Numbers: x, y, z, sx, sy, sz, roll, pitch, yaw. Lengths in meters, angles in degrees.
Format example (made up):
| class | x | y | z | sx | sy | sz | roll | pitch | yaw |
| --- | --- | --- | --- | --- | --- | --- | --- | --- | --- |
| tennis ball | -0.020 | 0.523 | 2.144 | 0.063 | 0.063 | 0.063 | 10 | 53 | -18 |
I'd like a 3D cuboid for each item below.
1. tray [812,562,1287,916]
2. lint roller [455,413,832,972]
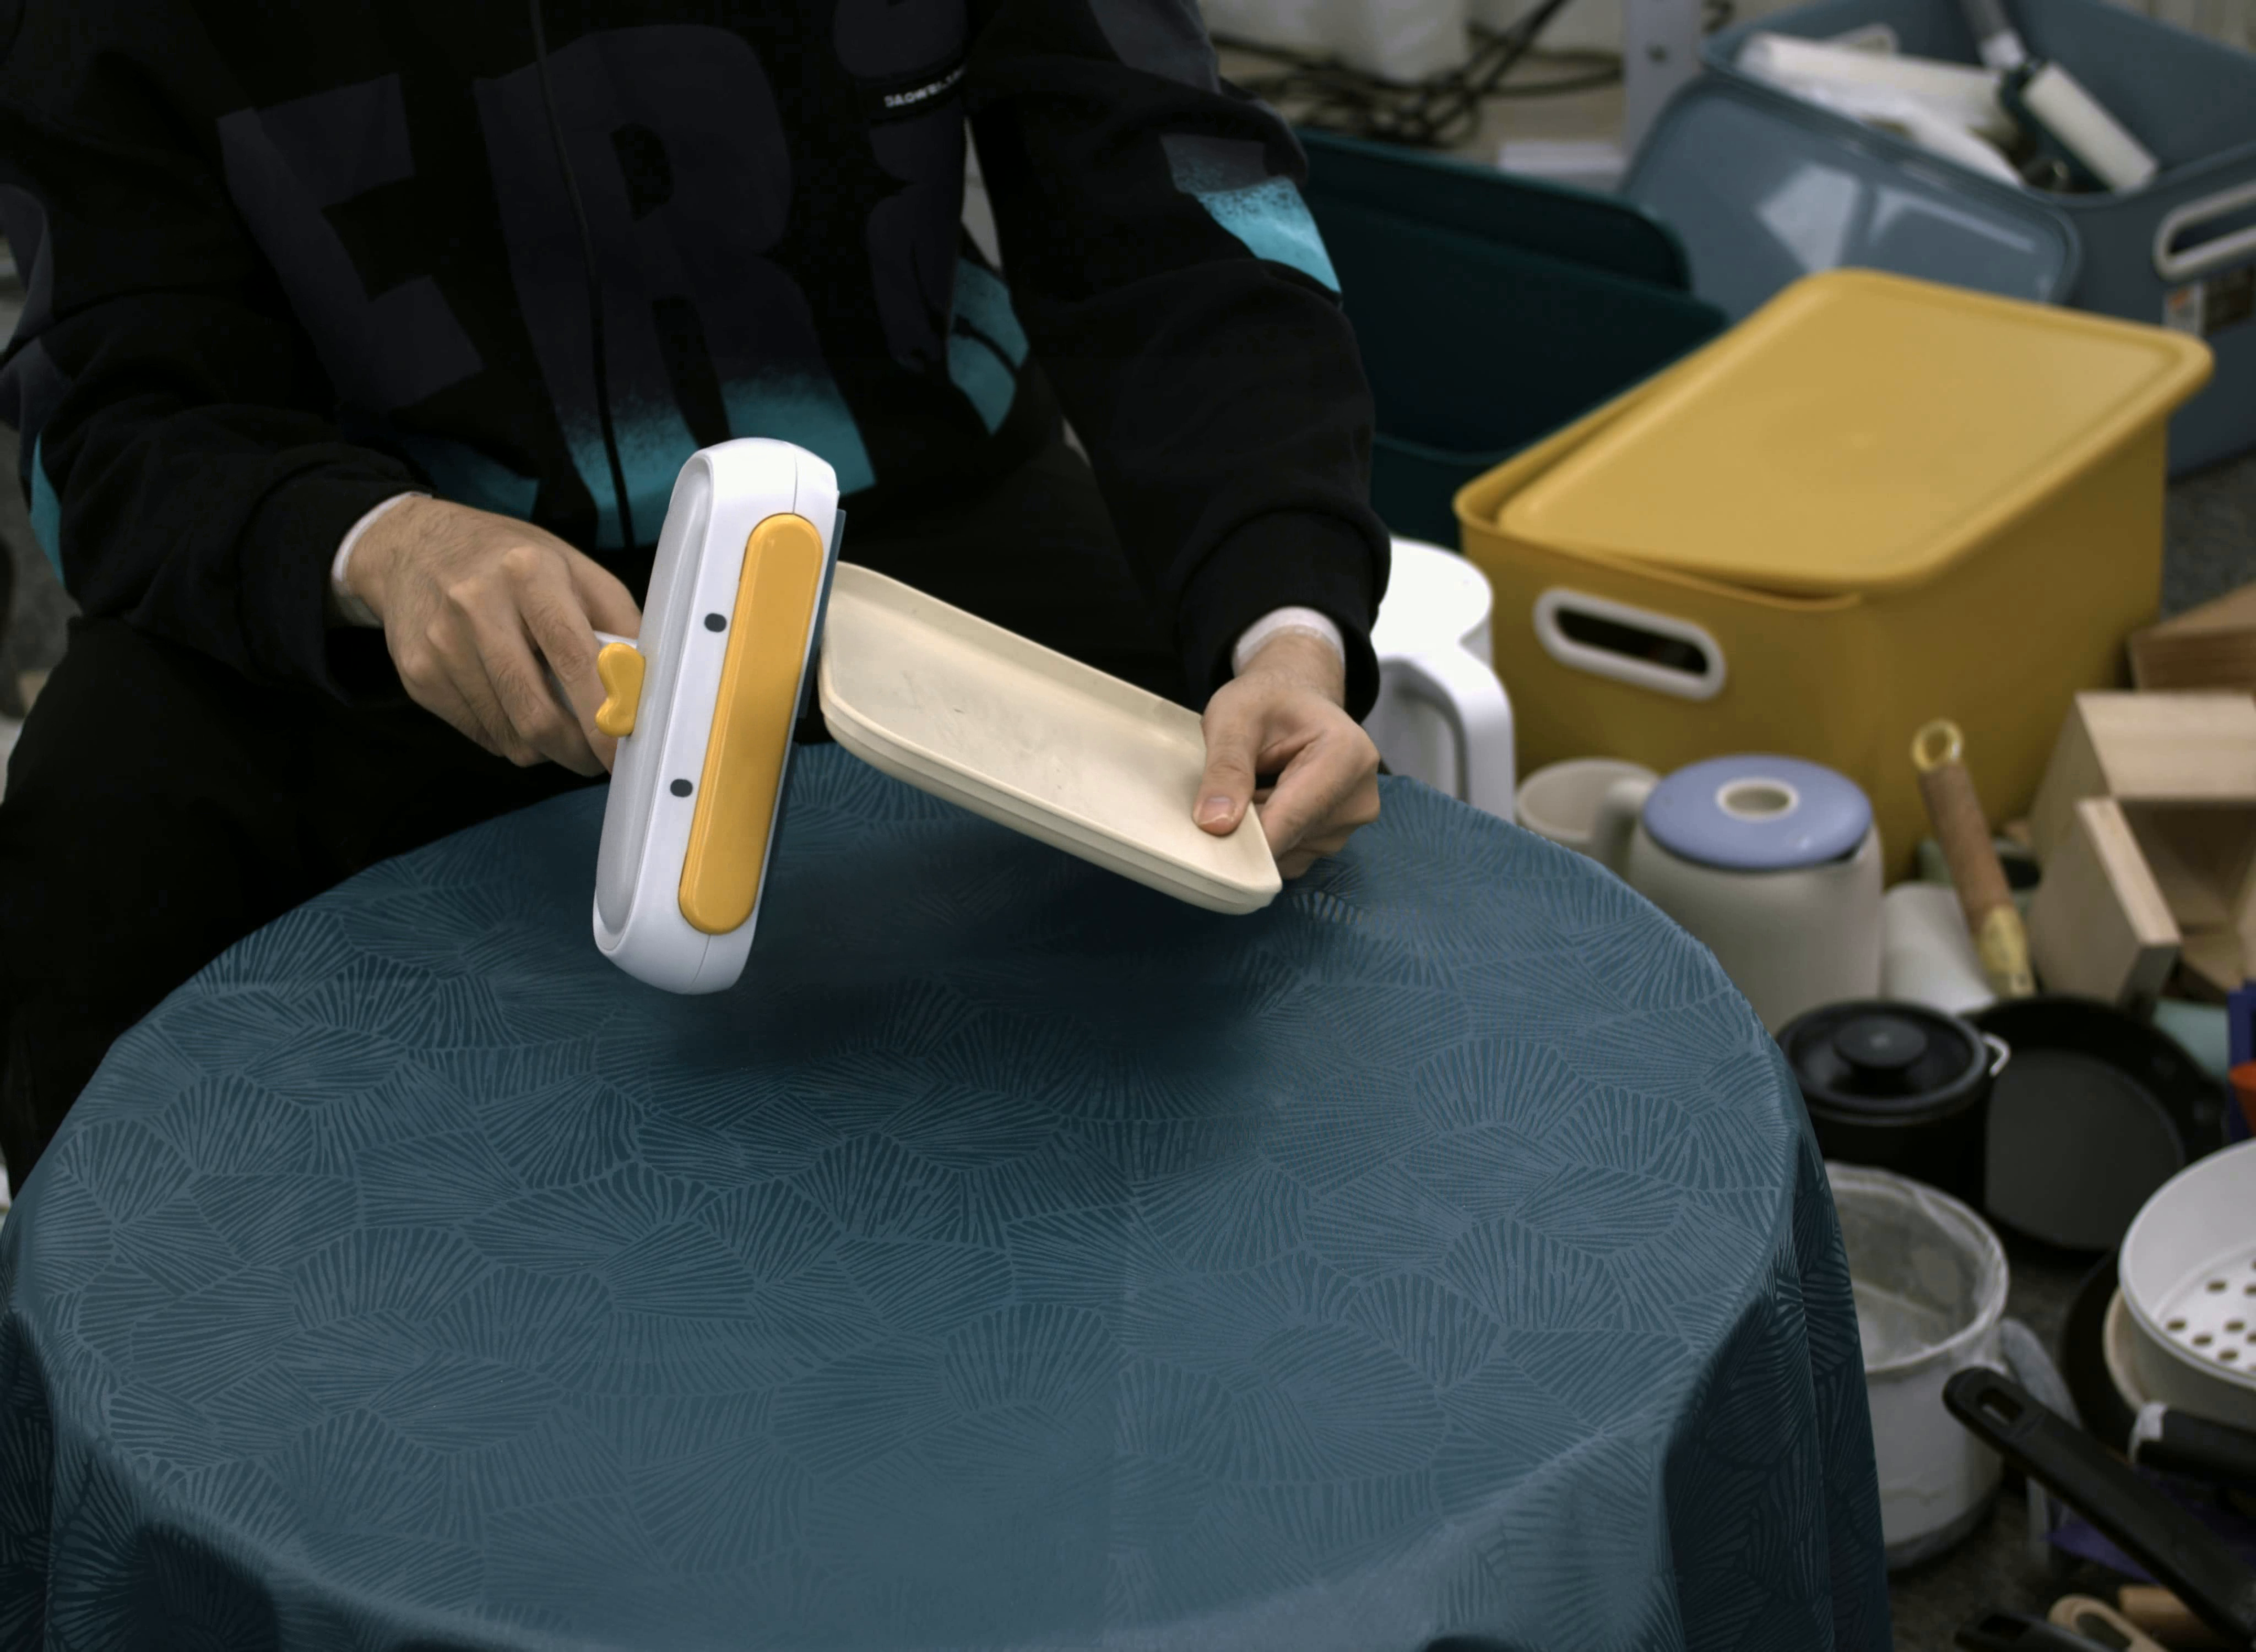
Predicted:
| class | x | y | z | sx | sy | sz | roll | pitch | yaw |
| --- | --- | --- | --- | --- | --- | --- | --- | --- | --- |
| tray | -0.033 | -0.030 | 1.971 | 0.171 | 0.017 | 0.241 | 24 | 12 | -10 |
| lint roller | -0.175 | -0.049 | 1.983 | 0.074 | 0.194 | 0.191 | 7 | -1 | -29 |
